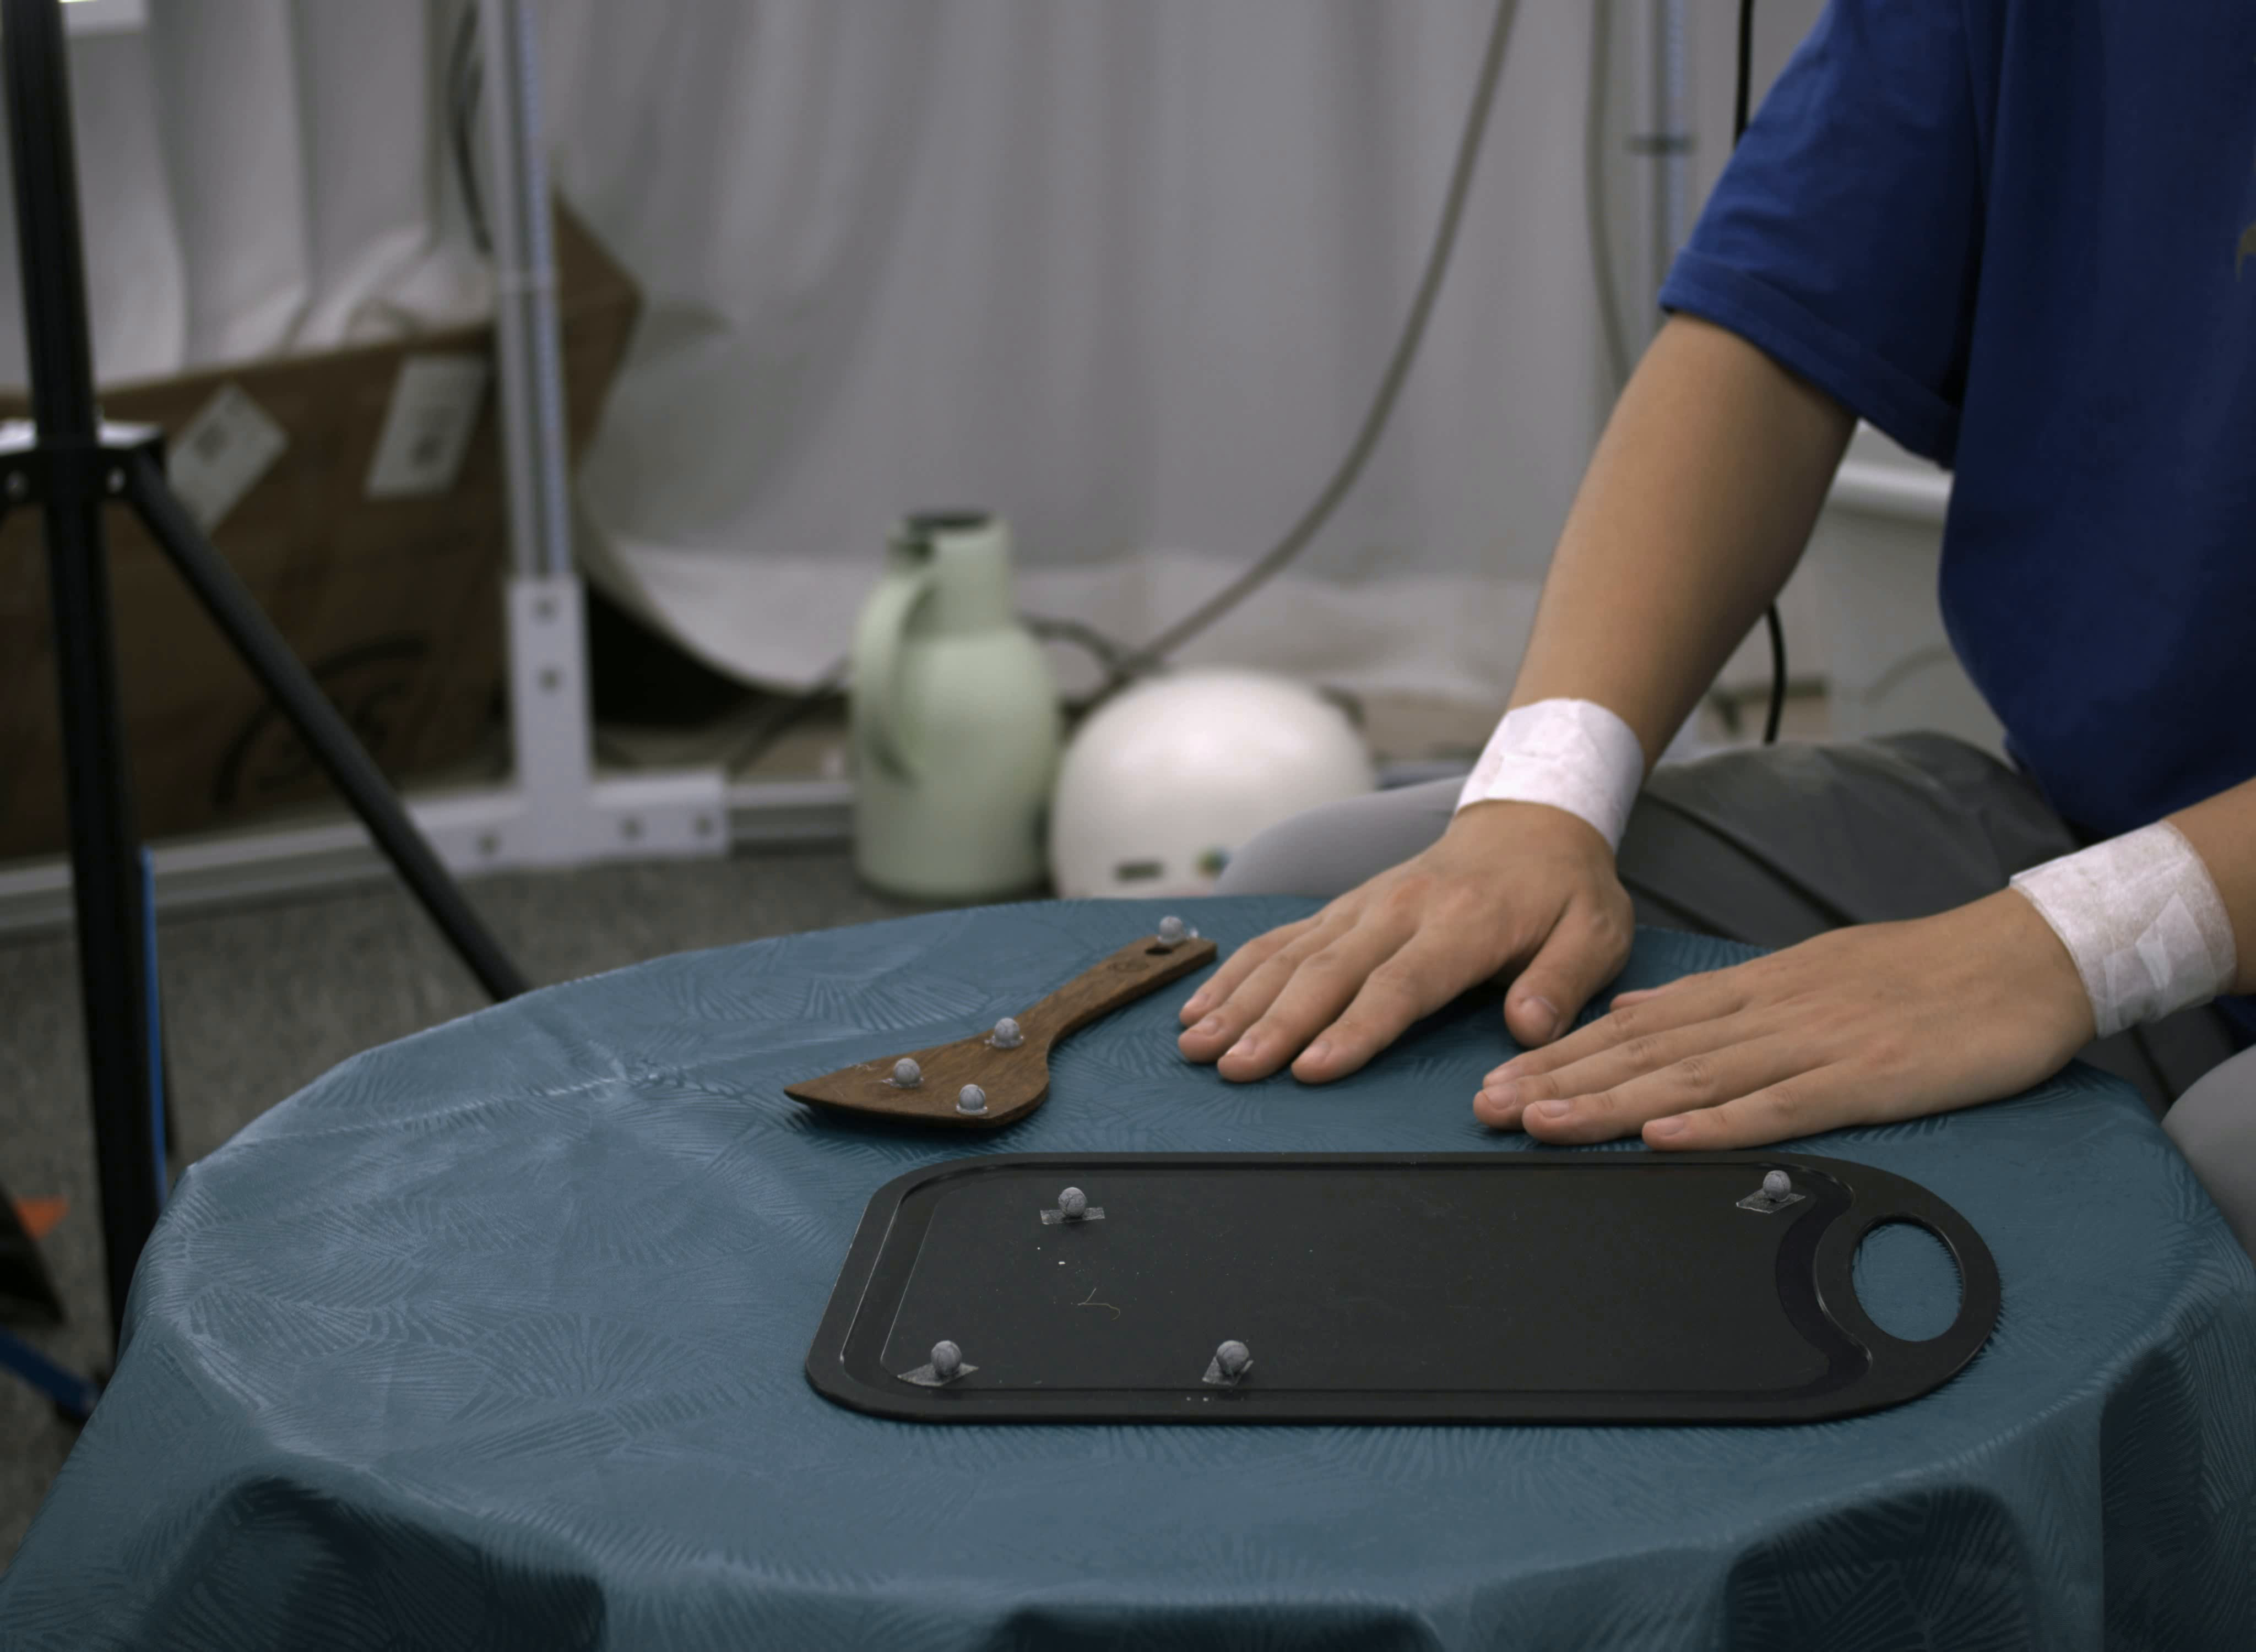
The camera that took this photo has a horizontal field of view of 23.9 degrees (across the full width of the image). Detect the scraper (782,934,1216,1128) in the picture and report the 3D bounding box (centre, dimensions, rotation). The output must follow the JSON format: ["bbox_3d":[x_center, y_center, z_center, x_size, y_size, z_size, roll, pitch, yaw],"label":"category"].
[{"bbox_3d":[-0.029,0.064,1.702,0.077,0.011,0.207,7,17,28],"label":"scraper"}]

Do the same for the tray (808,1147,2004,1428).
[{"bbox_3d":[0.080,0.125,1.473,0.326,0.010,0.211,0,16,8],"label":"tray"}]
